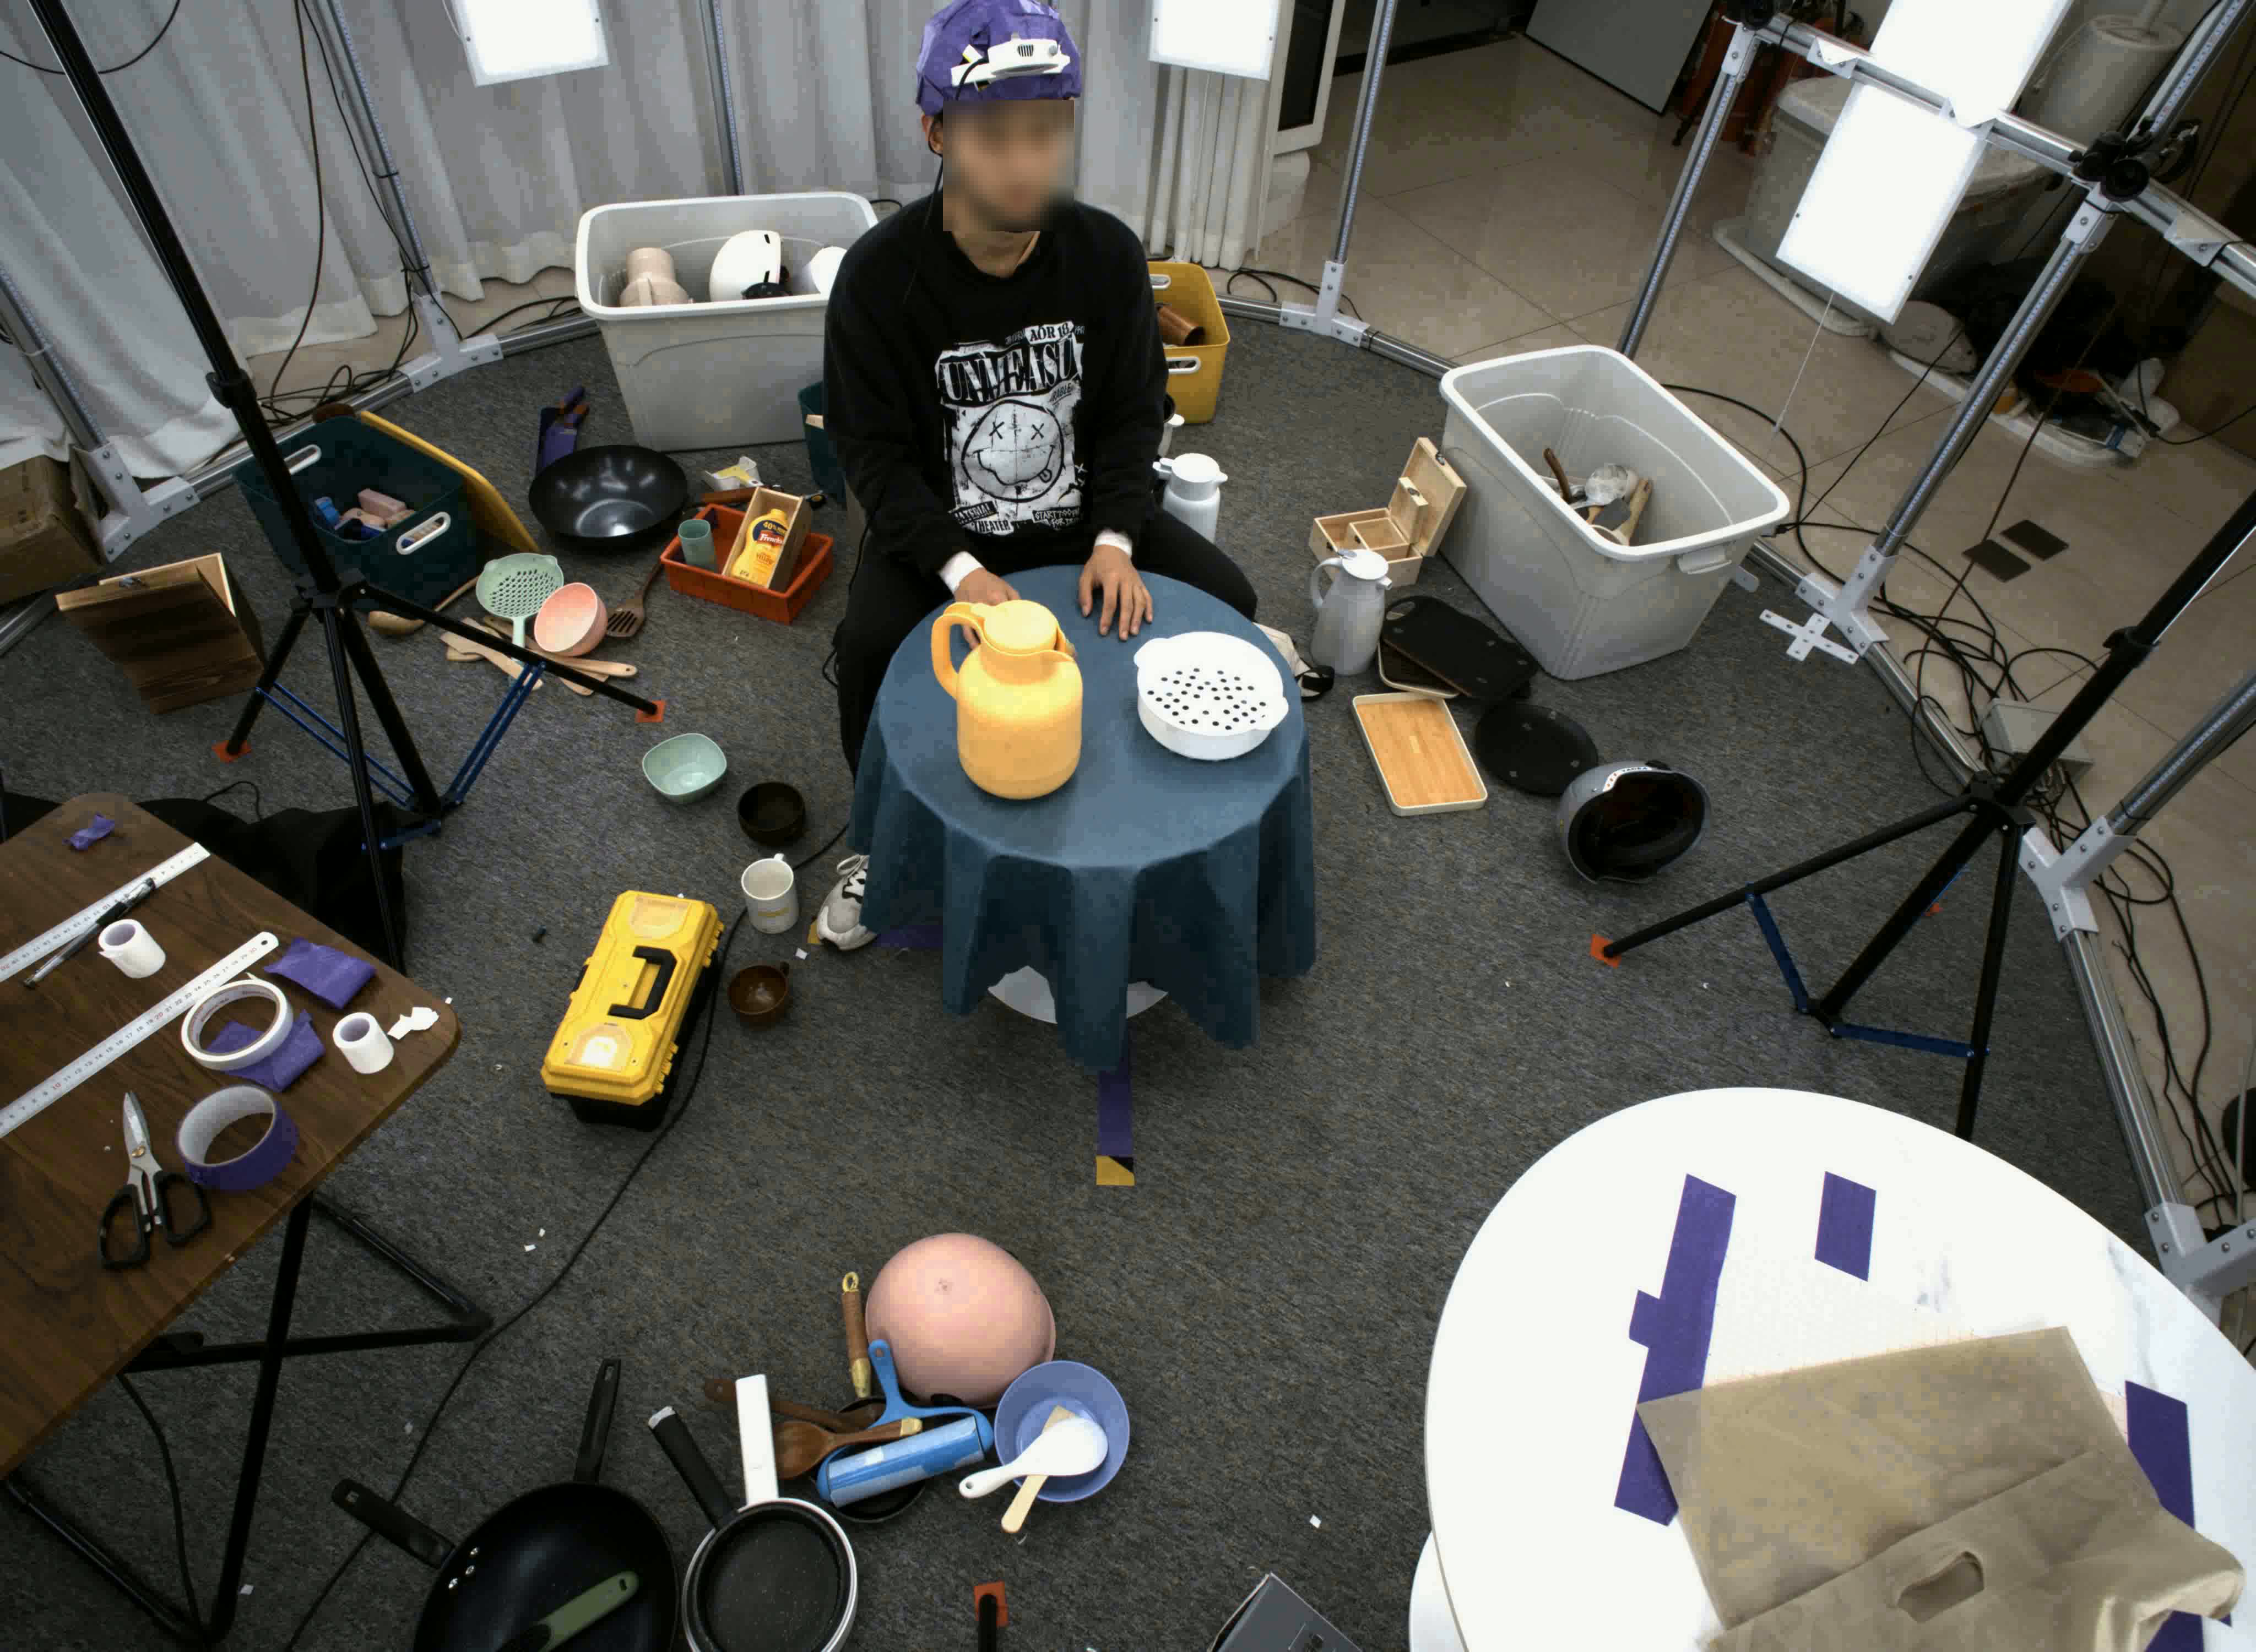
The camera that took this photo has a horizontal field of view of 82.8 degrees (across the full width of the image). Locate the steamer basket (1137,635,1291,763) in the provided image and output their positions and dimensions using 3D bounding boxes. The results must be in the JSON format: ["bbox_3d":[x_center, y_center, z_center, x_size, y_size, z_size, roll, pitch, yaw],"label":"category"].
[{"bbox_3d":[0.116,-0.176,1.790,0.233,0.067,0.204,29,54,20],"label":"steamer basket"}]

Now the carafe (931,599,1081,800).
[{"bbox_3d":[-0.158,-0.174,1.641,0.204,0.254,0.166,25,50,15],"label":"carafe"}]
